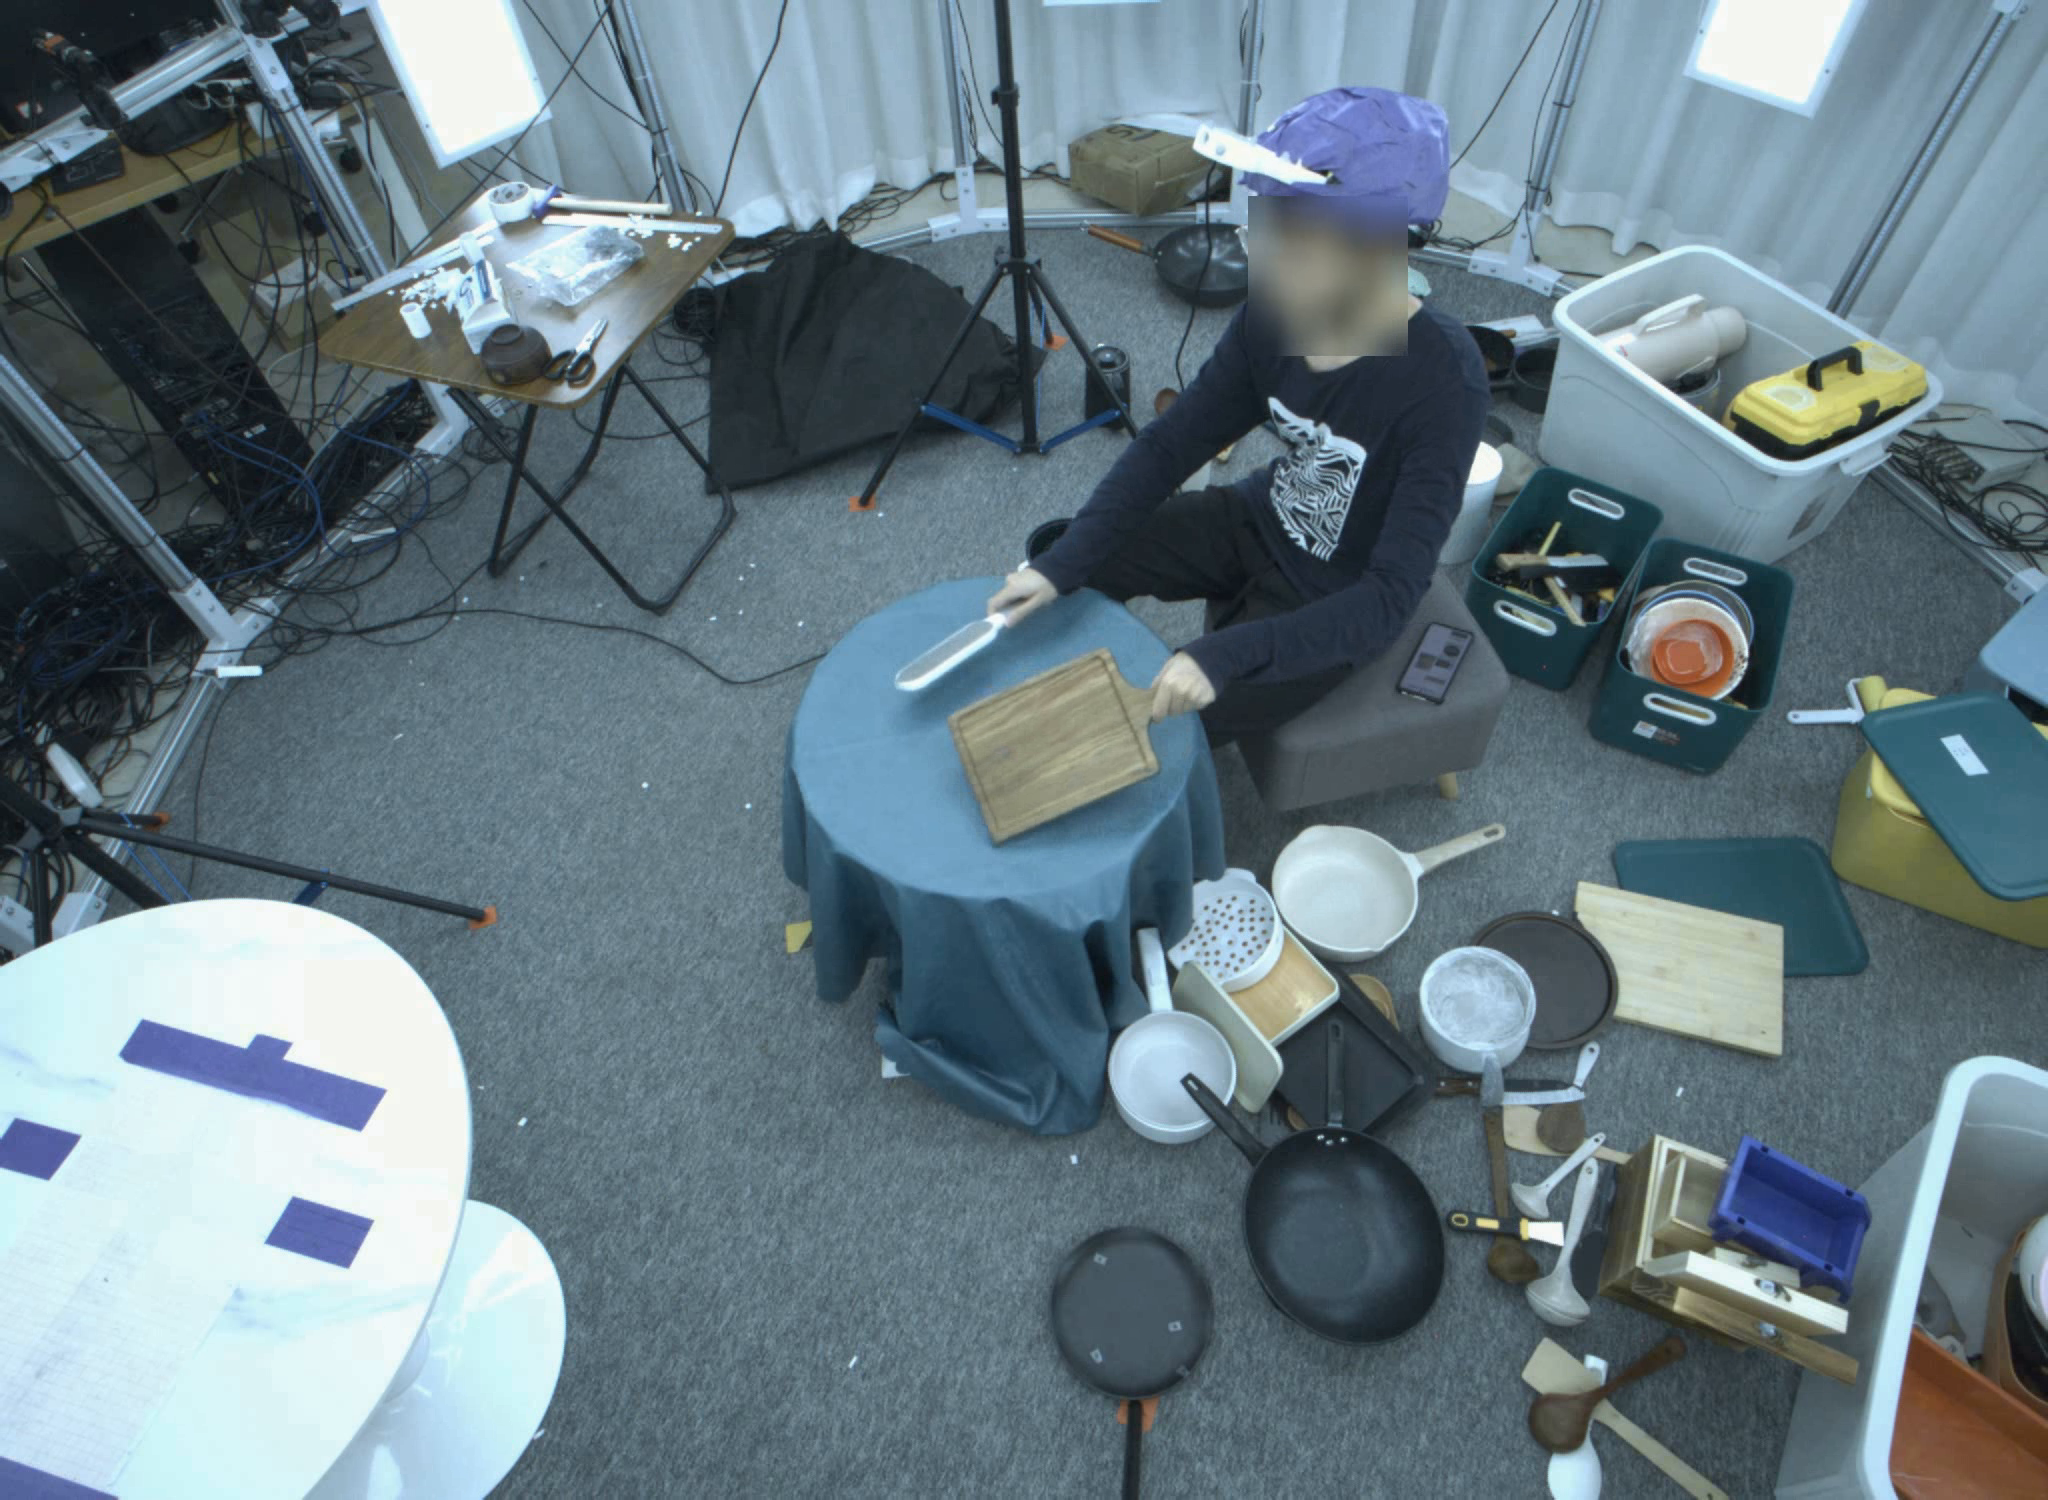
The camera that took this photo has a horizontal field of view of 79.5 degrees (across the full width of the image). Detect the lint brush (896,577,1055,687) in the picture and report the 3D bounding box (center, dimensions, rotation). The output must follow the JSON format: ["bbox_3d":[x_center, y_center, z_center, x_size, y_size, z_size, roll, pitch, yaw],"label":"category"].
[{"bbox_3d":[-0.068,-0.182,1.858,0.311,0.021,0.058,-37,34,-25],"label":"lint brush"}]

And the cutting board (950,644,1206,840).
[{"bbox_3d":[0.087,-0.031,1.703,0.351,0.023,0.199,-23,77,5],"label":"cutting board"}]
